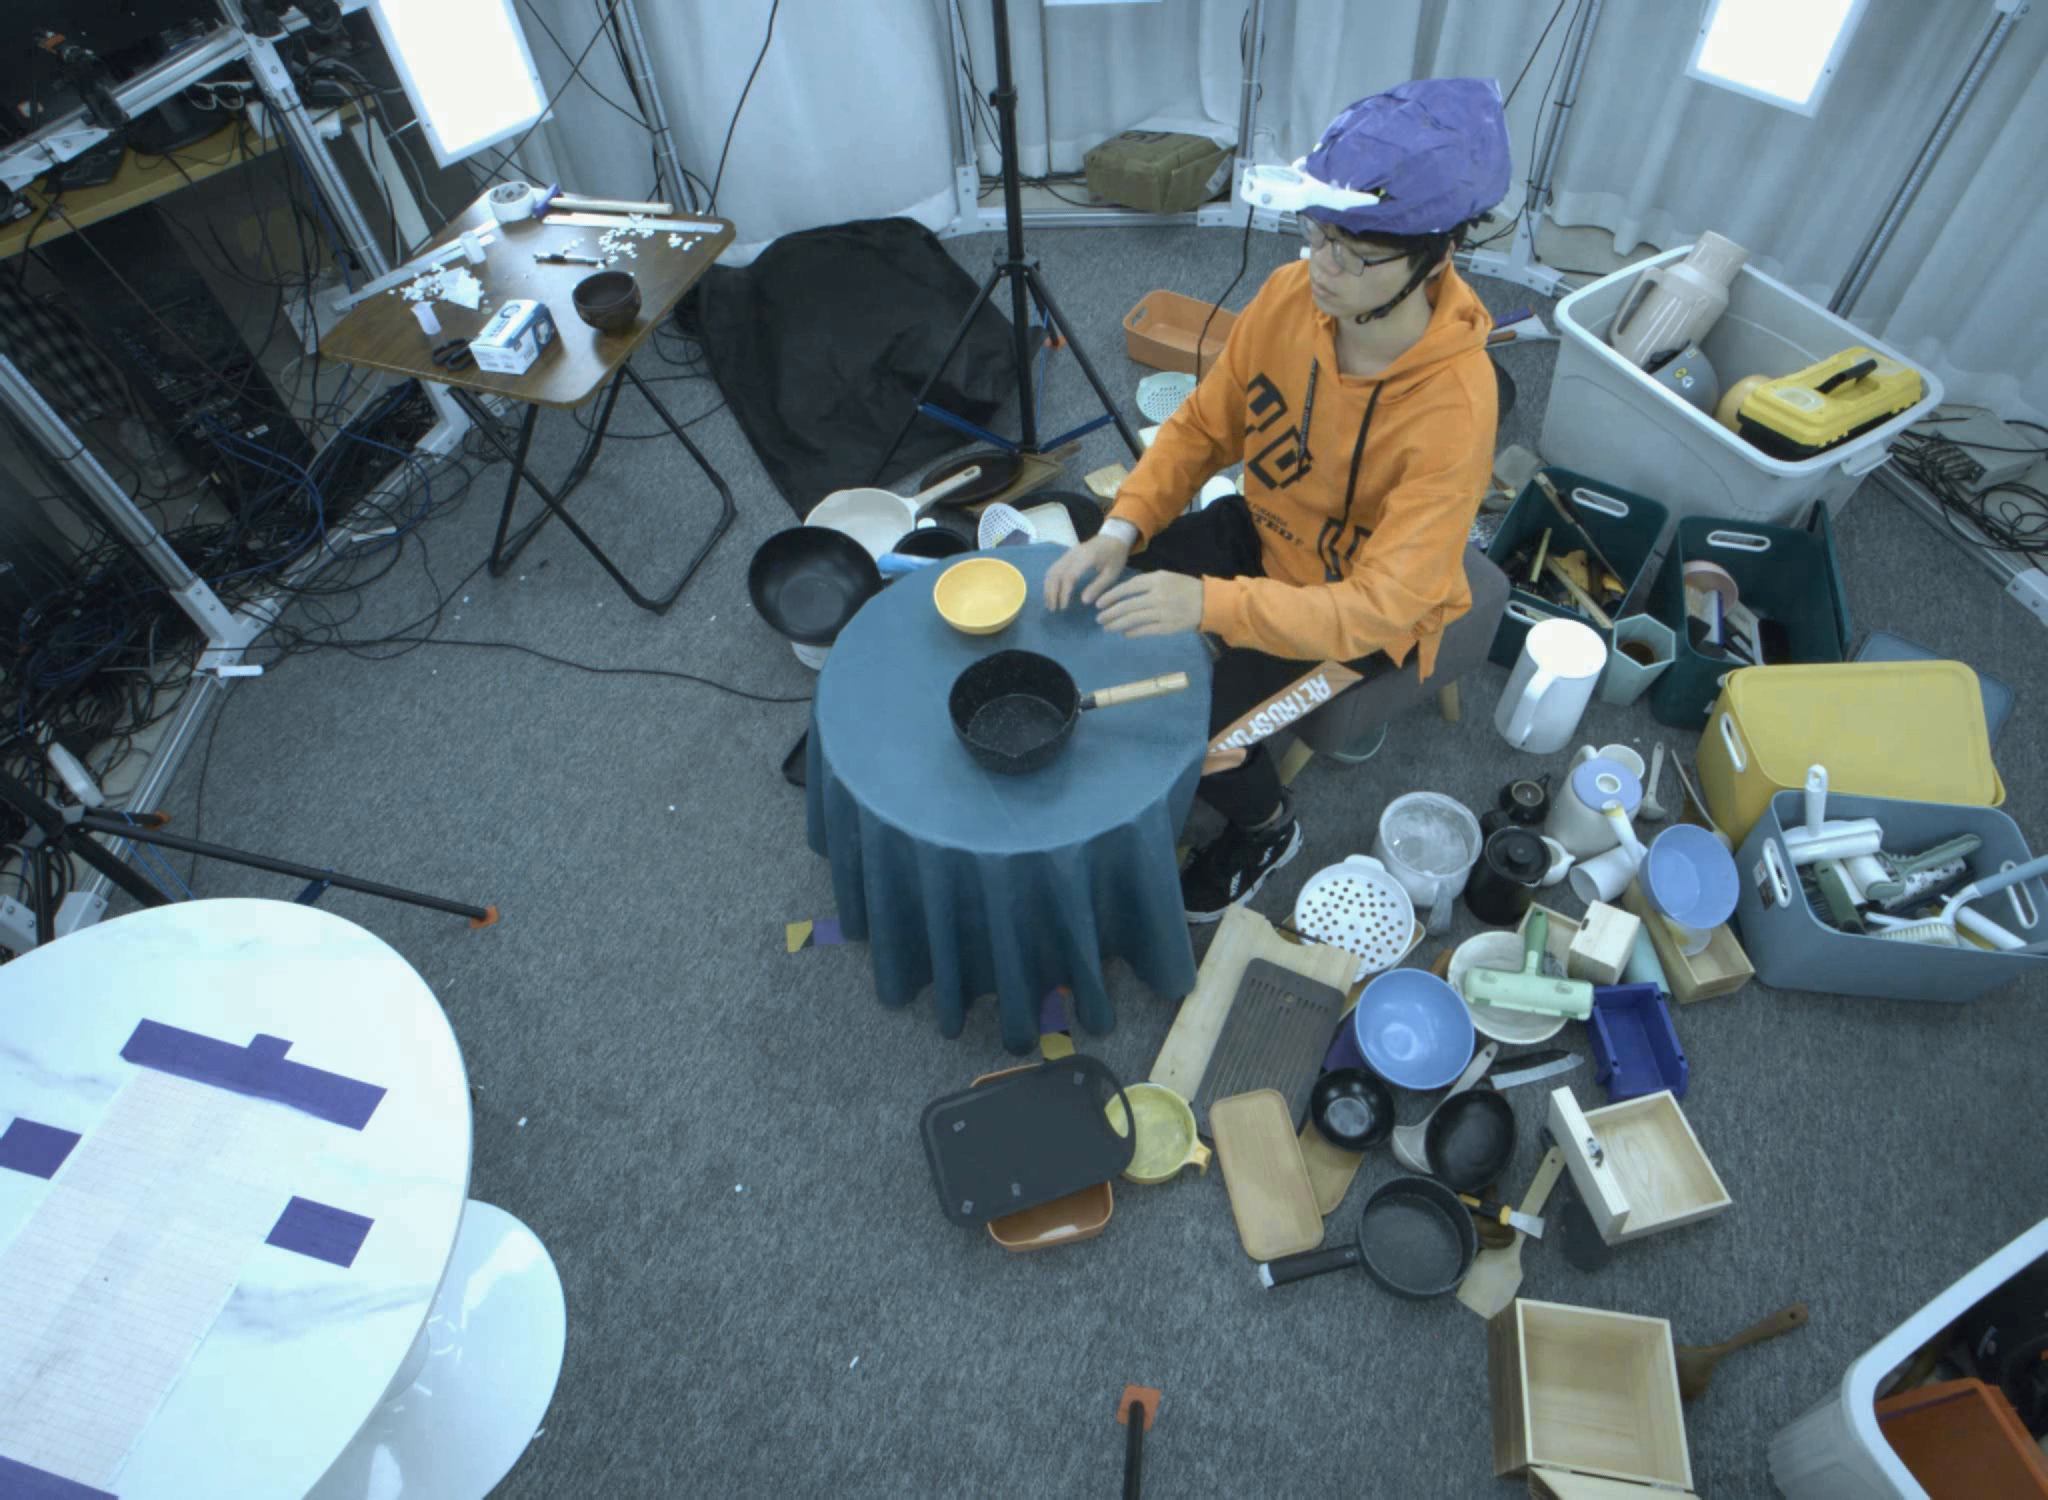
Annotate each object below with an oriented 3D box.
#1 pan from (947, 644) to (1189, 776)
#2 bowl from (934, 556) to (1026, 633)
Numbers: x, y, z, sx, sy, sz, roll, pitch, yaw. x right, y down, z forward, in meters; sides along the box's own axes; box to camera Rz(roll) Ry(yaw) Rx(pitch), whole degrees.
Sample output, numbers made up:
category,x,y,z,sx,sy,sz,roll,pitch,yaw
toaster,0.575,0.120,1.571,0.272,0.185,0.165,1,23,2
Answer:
category,x,y,z,sx,sy,sz,roll,pitch,yaw
pan,0.064,-0.061,1.761,0.343,0.109,0.205,-5,53,0
bowl,-0.067,-0.231,1.917,0.145,0.061,0.144,0,56,2
